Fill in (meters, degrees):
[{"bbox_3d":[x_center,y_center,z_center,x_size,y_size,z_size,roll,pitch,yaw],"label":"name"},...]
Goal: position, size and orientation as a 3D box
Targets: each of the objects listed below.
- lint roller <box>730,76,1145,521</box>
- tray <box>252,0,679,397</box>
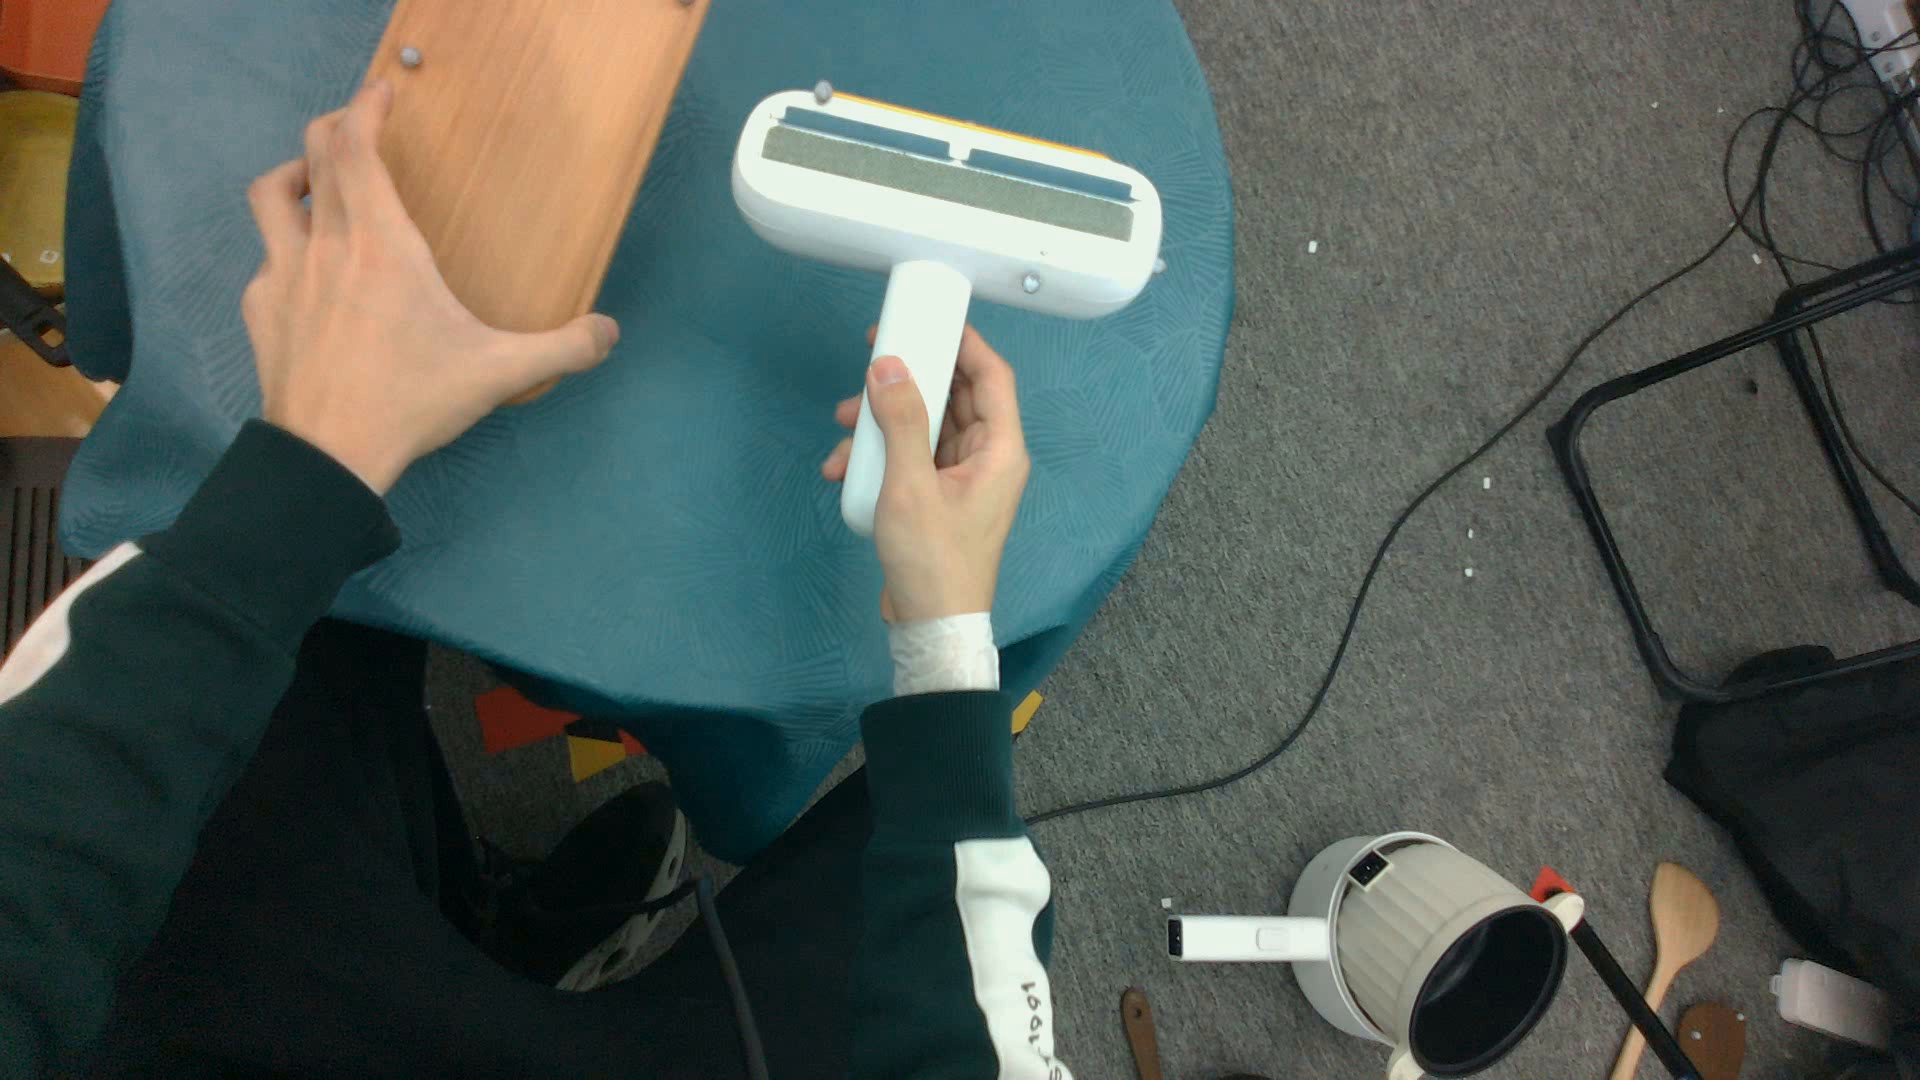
[{"bbox_3d":[-0.028,-0.102,0.640,0.193,0.074,0.192,18,88,-6],"label":"lint roller"},{"bbox_3d":[-0.212,-0.191,0.612,0.130,0.023,0.251,18,81,0],"label":"tray"}]
